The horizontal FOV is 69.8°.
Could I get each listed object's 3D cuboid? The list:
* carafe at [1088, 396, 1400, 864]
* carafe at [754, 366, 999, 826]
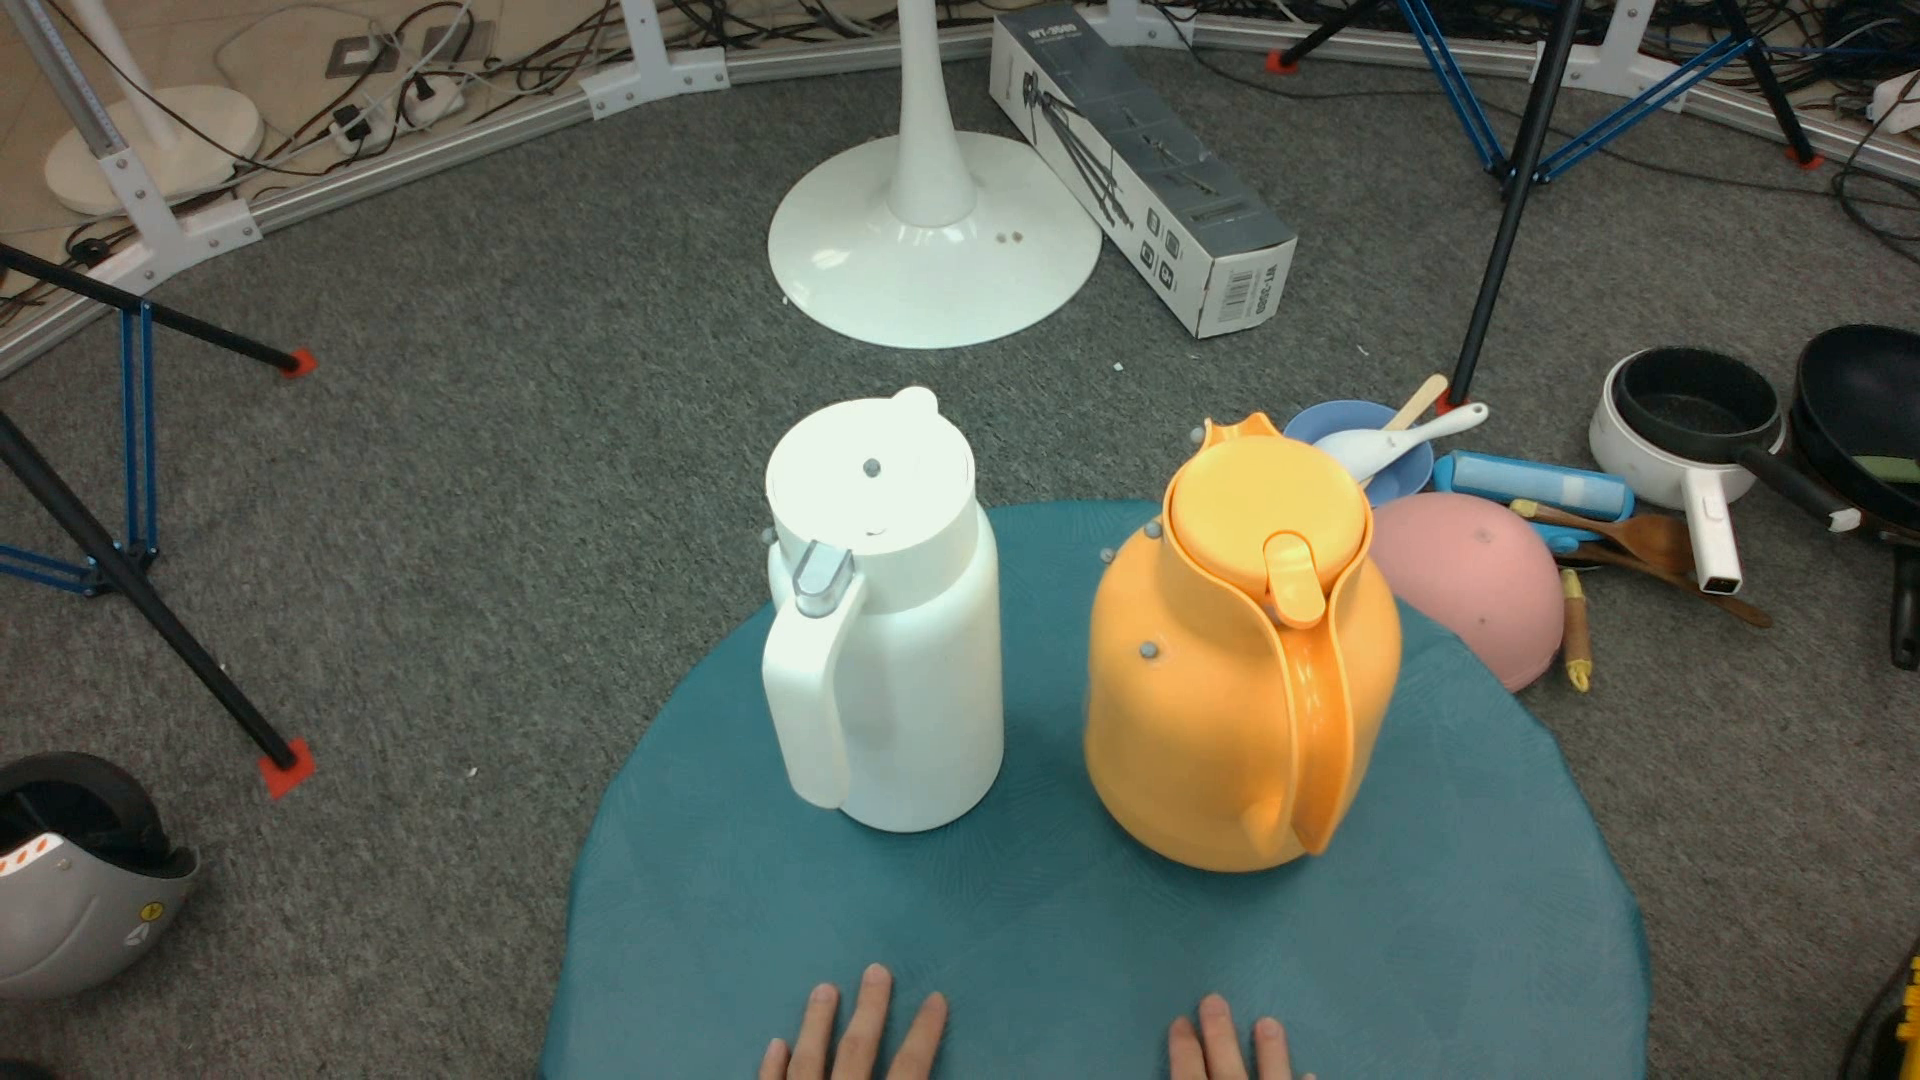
[{"bbox_3d":[0.149,0.067,0.722,0.163,0.259,0.203,-6,50,2],"label":"carafe"},{"bbox_3d":[-0.044,0.058,0.735,0.124,0.267,0.173,15,54,11],"label":"carafe"}]
